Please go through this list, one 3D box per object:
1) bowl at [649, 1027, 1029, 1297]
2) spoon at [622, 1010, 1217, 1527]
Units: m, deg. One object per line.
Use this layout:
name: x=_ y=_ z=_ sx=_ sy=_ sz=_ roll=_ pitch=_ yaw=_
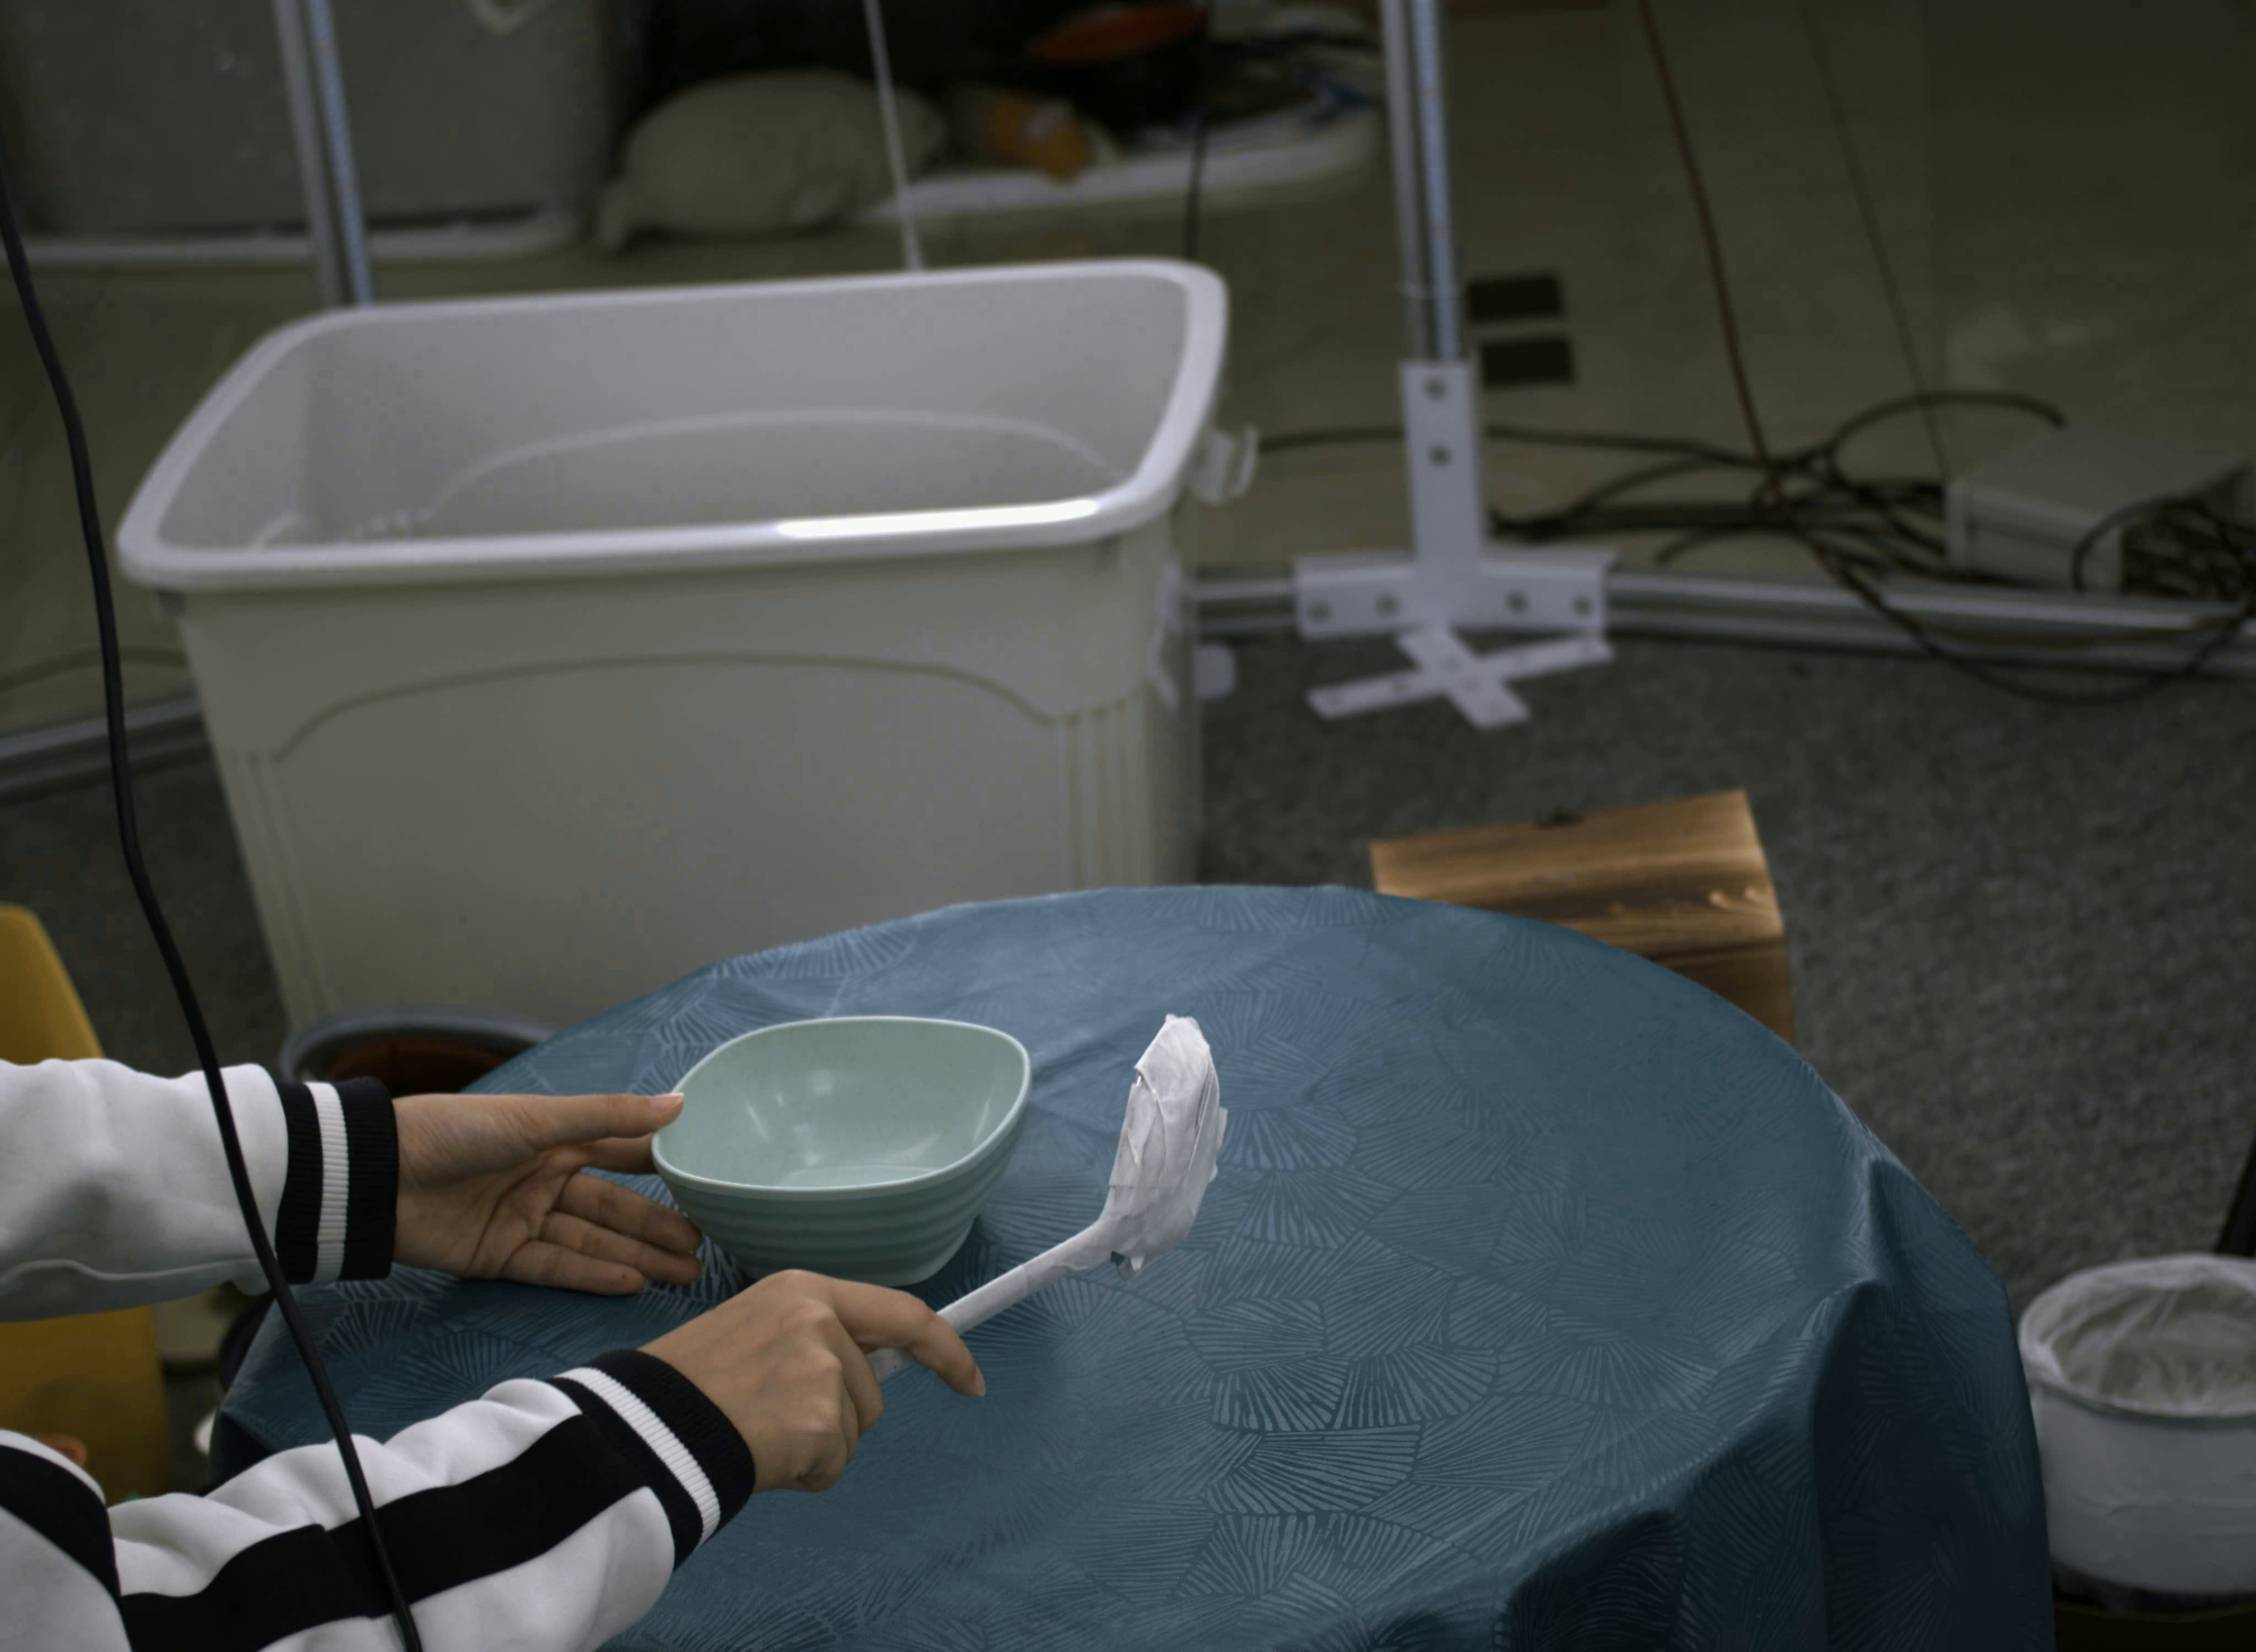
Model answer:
bowl: x=-0.105 y=0.131 z=2.128 sx=0.151 sy=0.059 sz=0.149 roll=-5 pitch=25 yaw=3
spoon: x=-0.070 y=0.158 z=1.933 sx=0.275 sy=0.102 sz=0.058 roll=-29 pitch=42 yaw=-24
